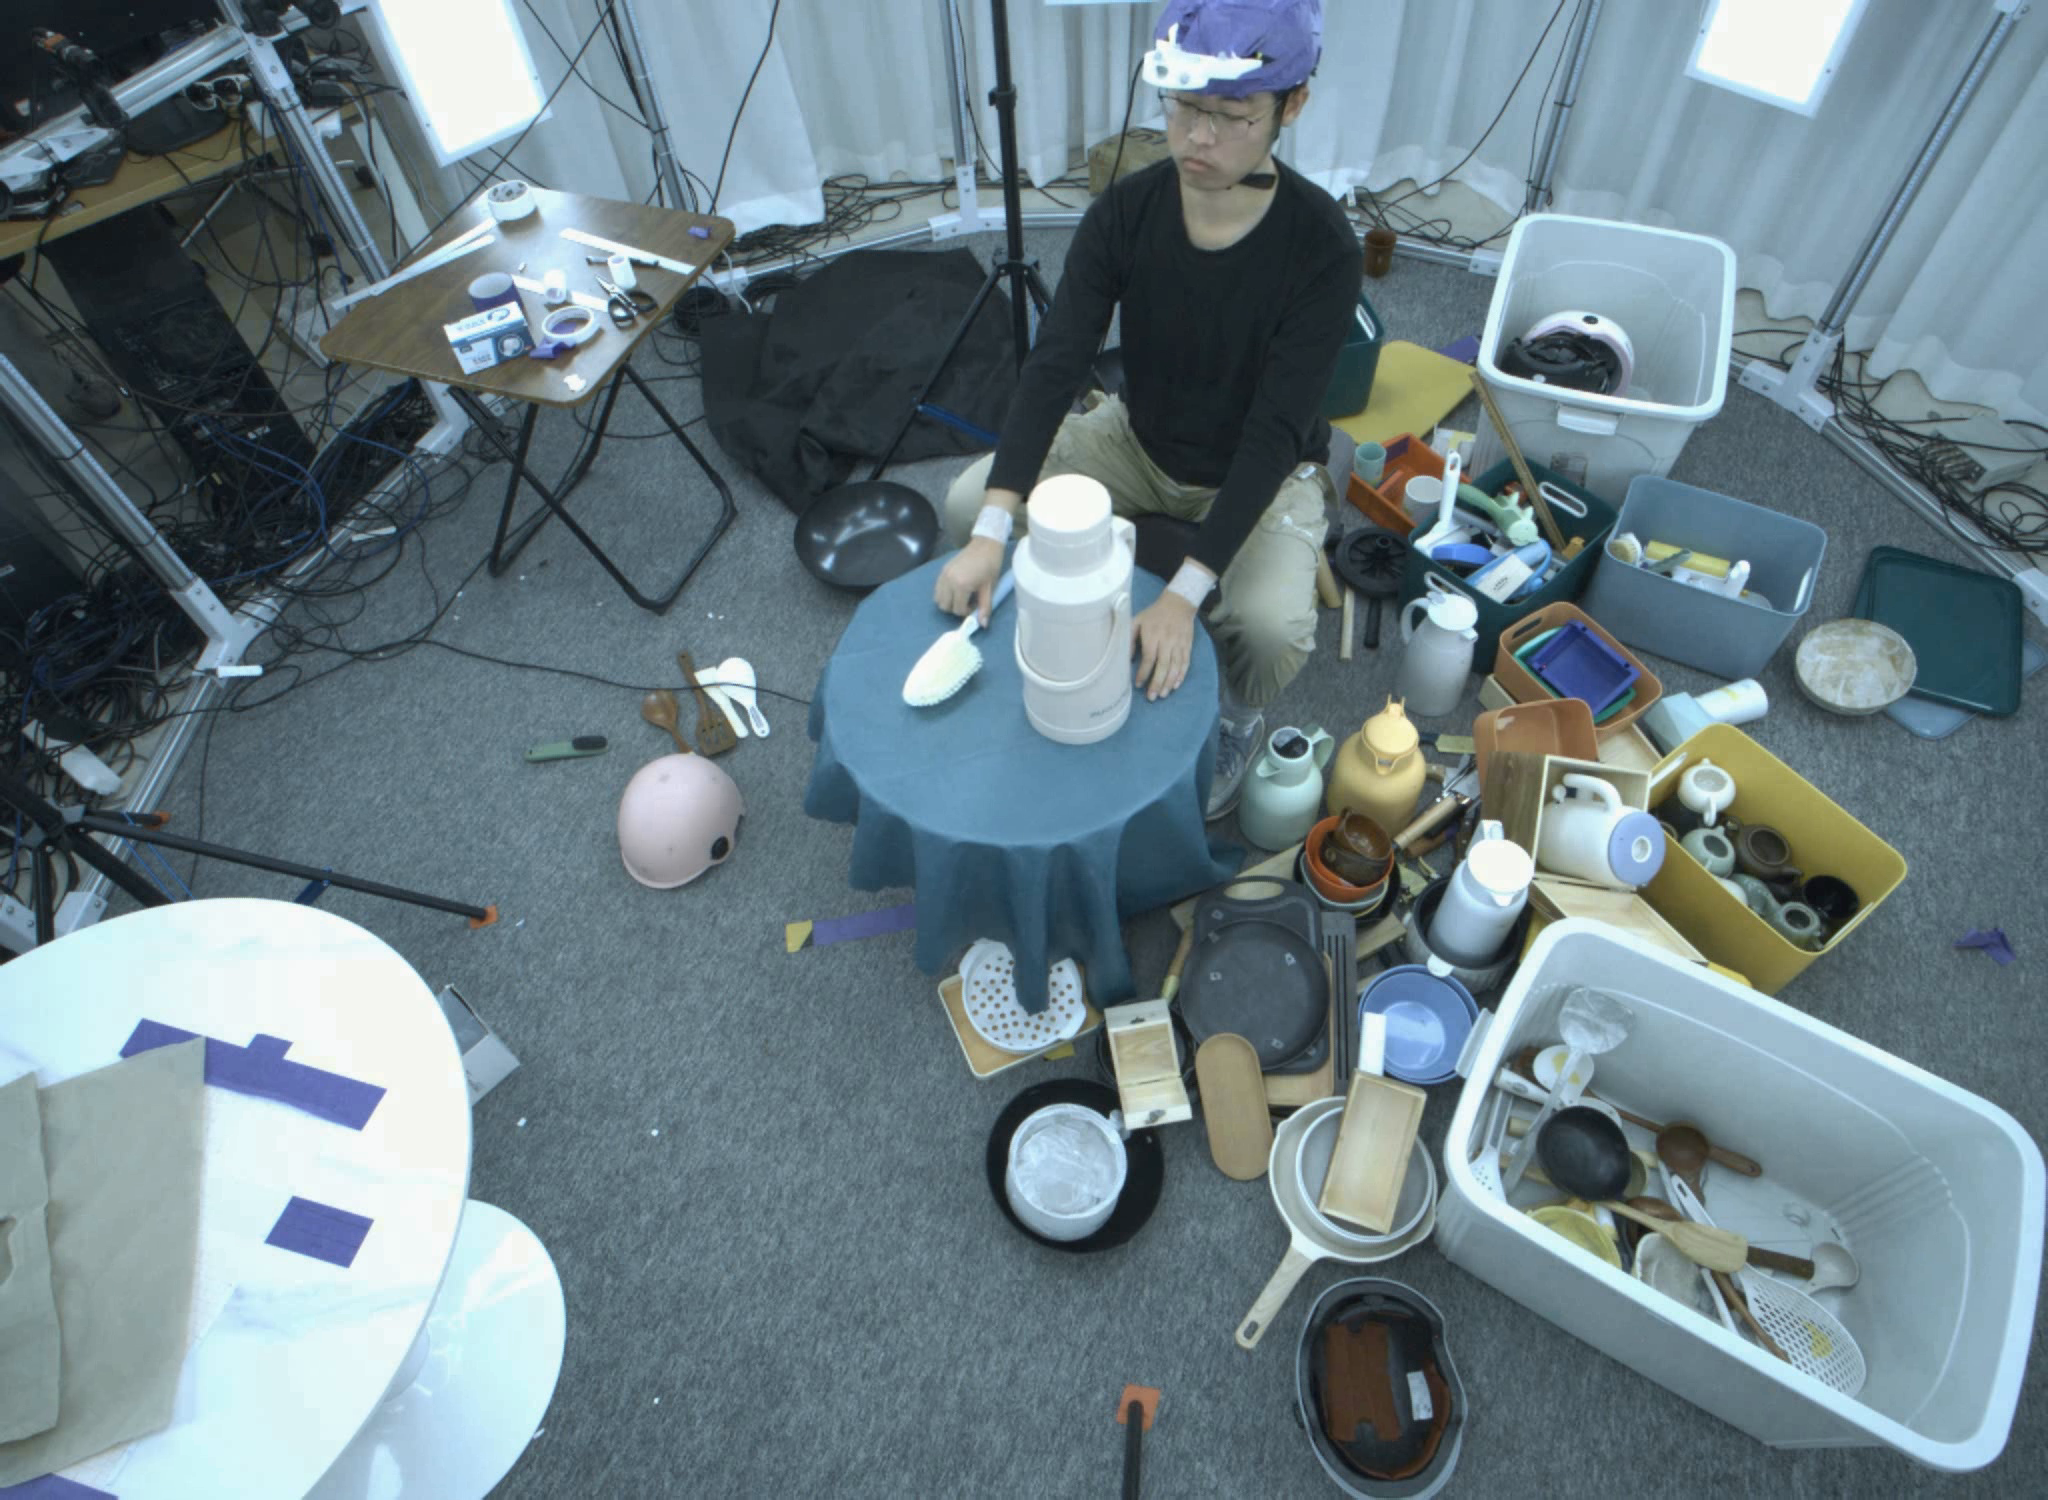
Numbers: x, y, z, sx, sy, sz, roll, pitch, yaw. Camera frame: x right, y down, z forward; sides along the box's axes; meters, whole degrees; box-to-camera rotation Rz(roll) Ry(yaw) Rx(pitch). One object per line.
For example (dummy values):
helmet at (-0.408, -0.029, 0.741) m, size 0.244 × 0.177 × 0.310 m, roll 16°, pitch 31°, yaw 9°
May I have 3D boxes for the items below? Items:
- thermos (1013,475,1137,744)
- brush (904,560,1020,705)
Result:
thermos at (0.081, -0.195, 1.678) m, size 0.172 × 0.411 × 0.208 m, roll 33°, pitch 63°, yaw 26°
brush at (-0.072, -0.191, 1.877) m, size 0.083 × 0.084 × 0.326 m, roll 25°, pitch 60°, yaw 22°
